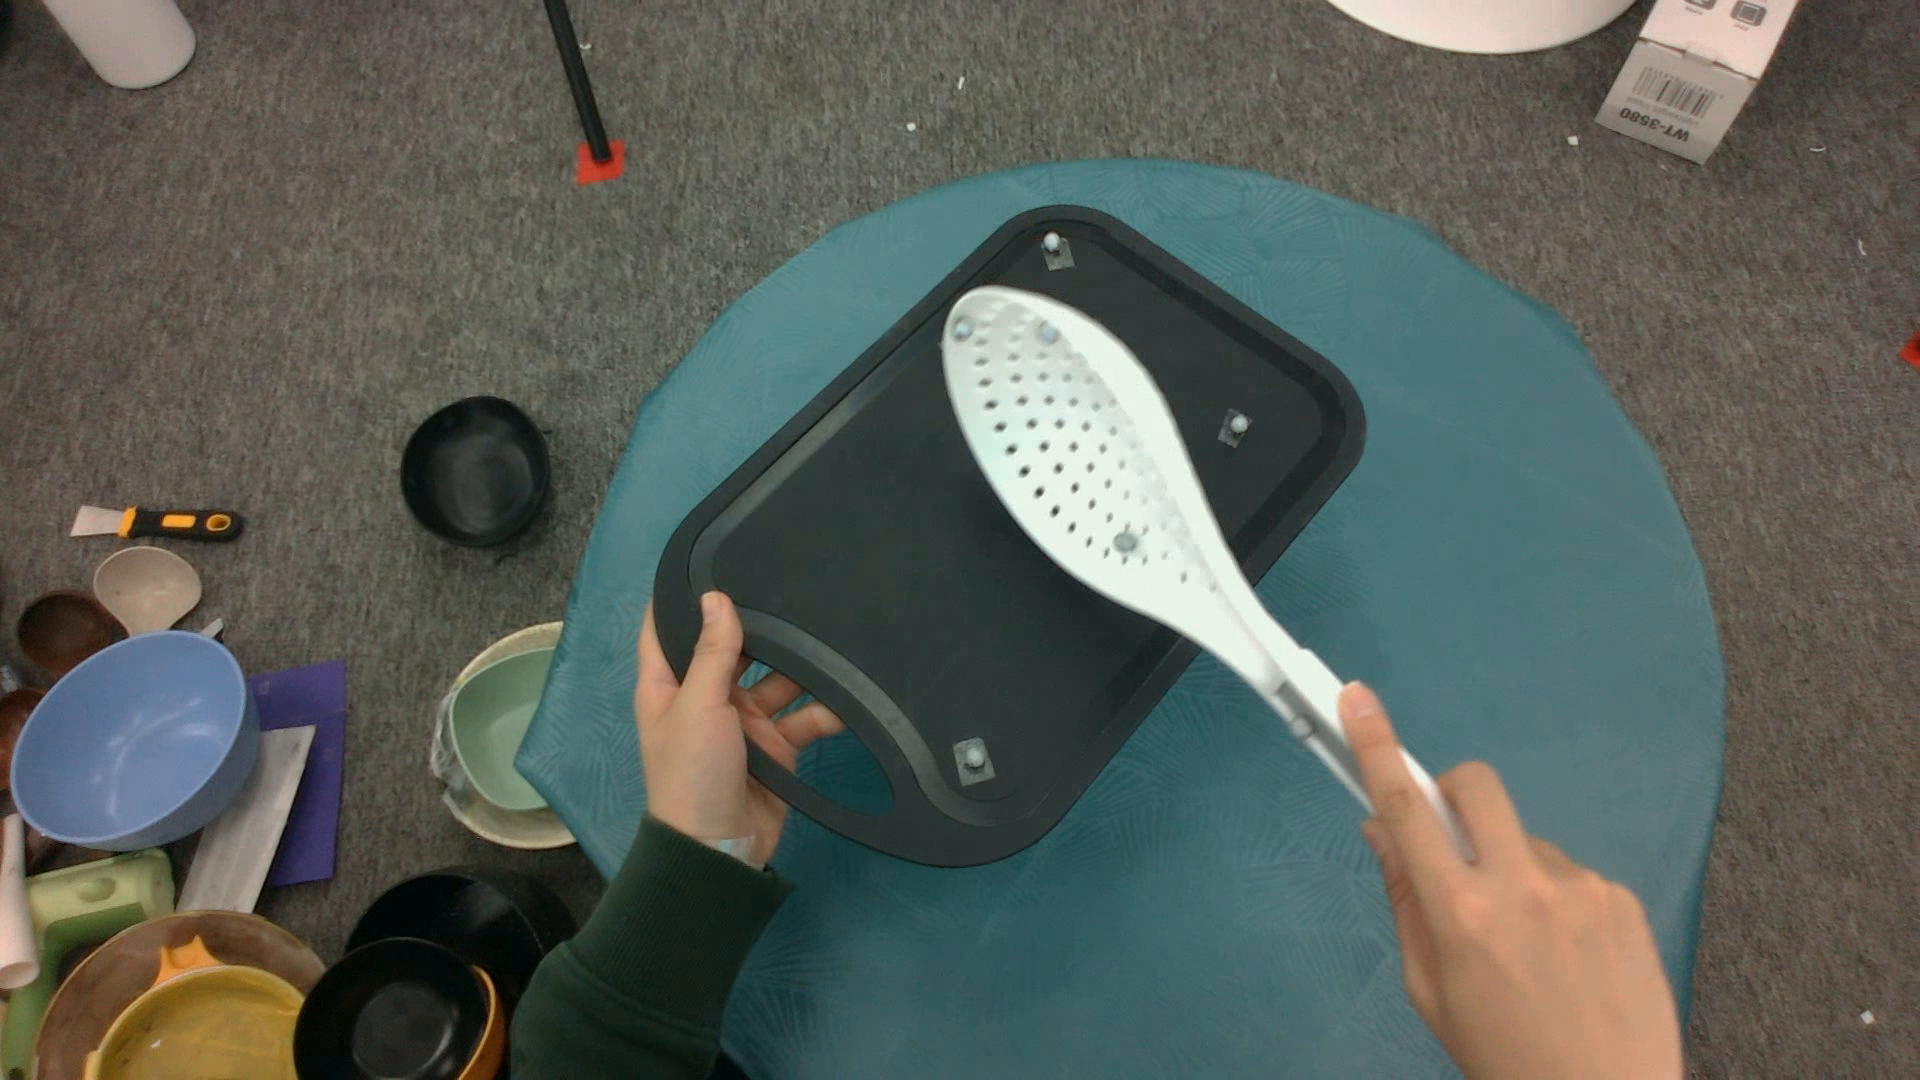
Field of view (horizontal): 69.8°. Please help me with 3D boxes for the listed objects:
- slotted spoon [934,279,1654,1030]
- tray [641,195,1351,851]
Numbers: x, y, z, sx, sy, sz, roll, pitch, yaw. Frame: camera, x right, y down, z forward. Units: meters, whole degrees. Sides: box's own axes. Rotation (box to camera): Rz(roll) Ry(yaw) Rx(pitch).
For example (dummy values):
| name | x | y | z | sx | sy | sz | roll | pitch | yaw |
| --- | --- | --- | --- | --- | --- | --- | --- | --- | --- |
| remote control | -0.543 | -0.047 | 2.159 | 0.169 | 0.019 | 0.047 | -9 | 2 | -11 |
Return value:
| name | x | y | z | sx | sy | sz | roll | pitch | yaw |
| --- | --- | --- | --- | --- | --- | --- | --- | --- | --- |
| slotted spoon | 0.109 | 0.032 | 0.502 | 0.046 | 0.135 | 0.350 | -31 | 70 | -18 |
| tray | 0.019 | -0.021 | 0.612 | 0.211 | 0.010 | 0.326 | 38 | 67 | 15 |
